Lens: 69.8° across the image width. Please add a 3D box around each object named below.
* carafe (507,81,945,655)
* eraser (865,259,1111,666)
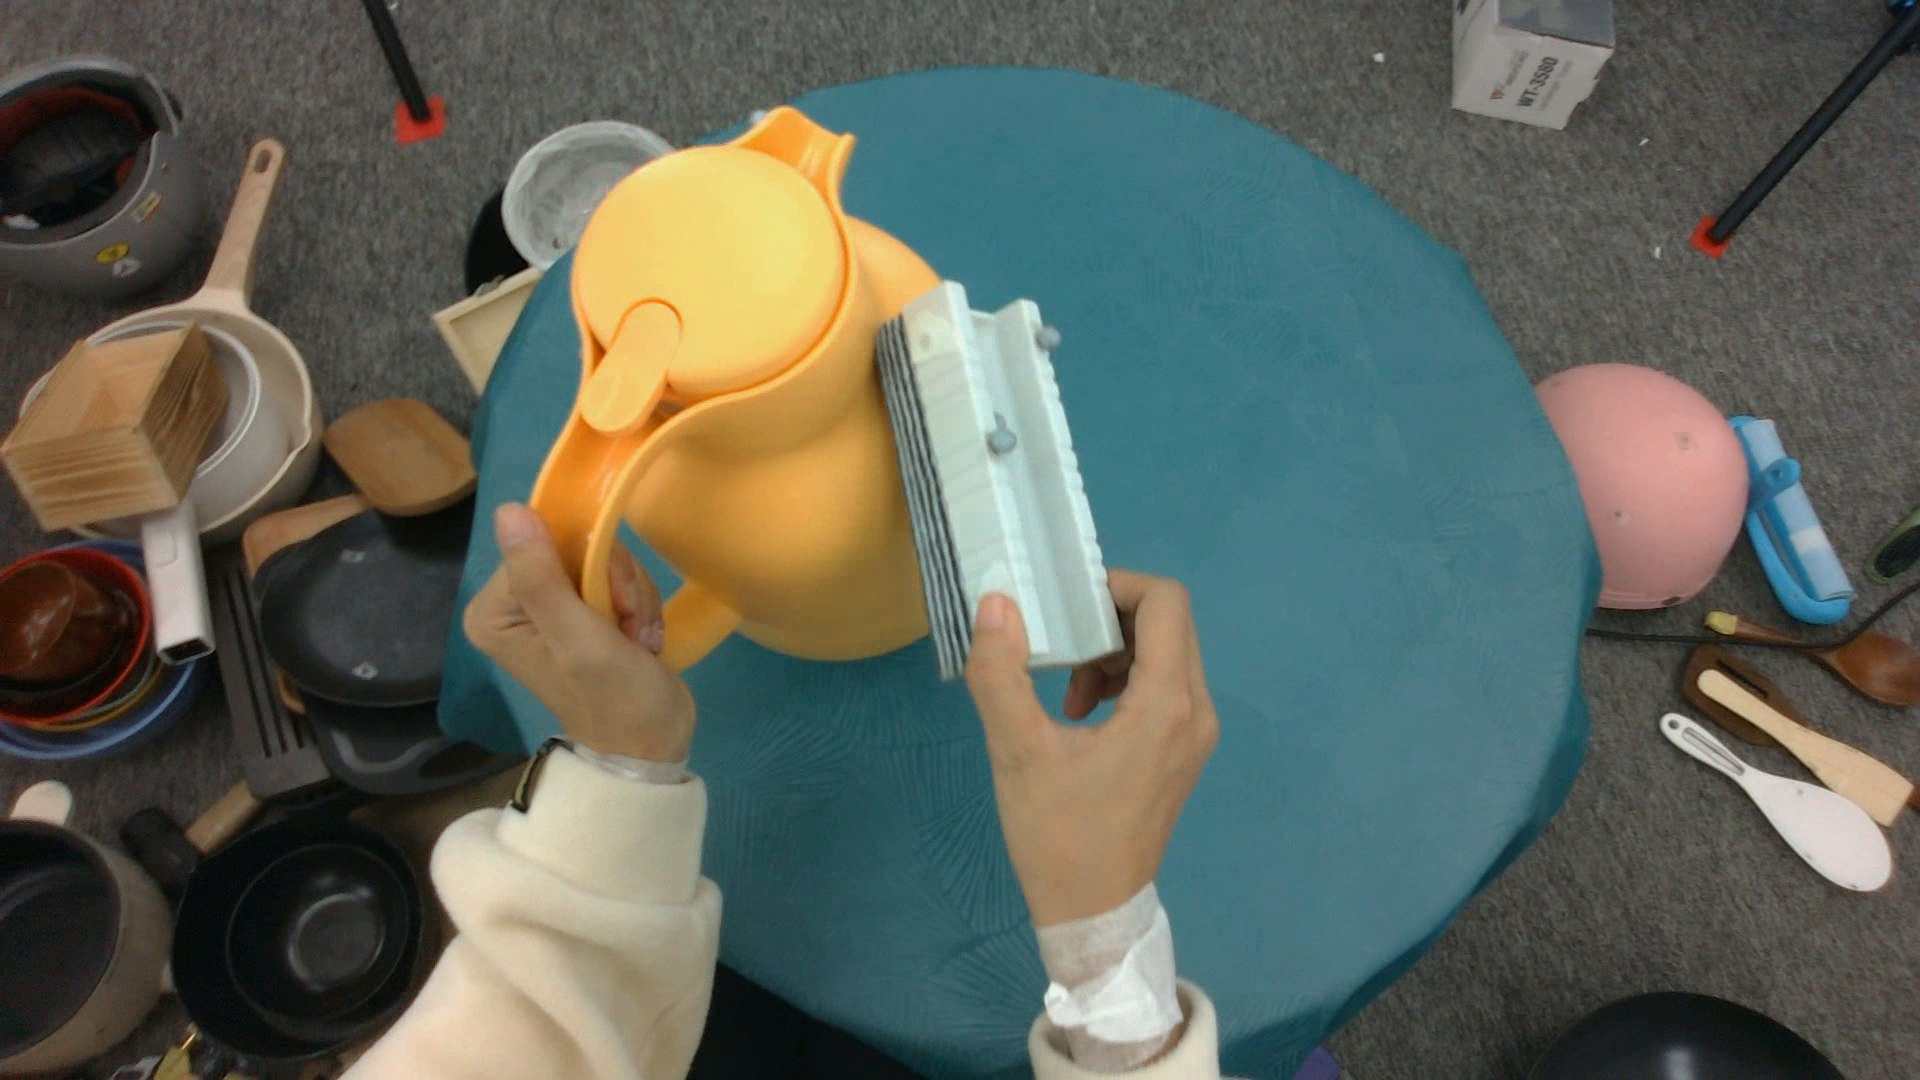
[{"bbox_3d":[-0.085,-0.044,0.557,0.163,0.259,0.203,28,75,17],"label":"carafe"},{"bbox_3d":[0.007,-0.025,0.479,0.050,0.046,0.134,1,71,-51],"label":"eraser"}]
